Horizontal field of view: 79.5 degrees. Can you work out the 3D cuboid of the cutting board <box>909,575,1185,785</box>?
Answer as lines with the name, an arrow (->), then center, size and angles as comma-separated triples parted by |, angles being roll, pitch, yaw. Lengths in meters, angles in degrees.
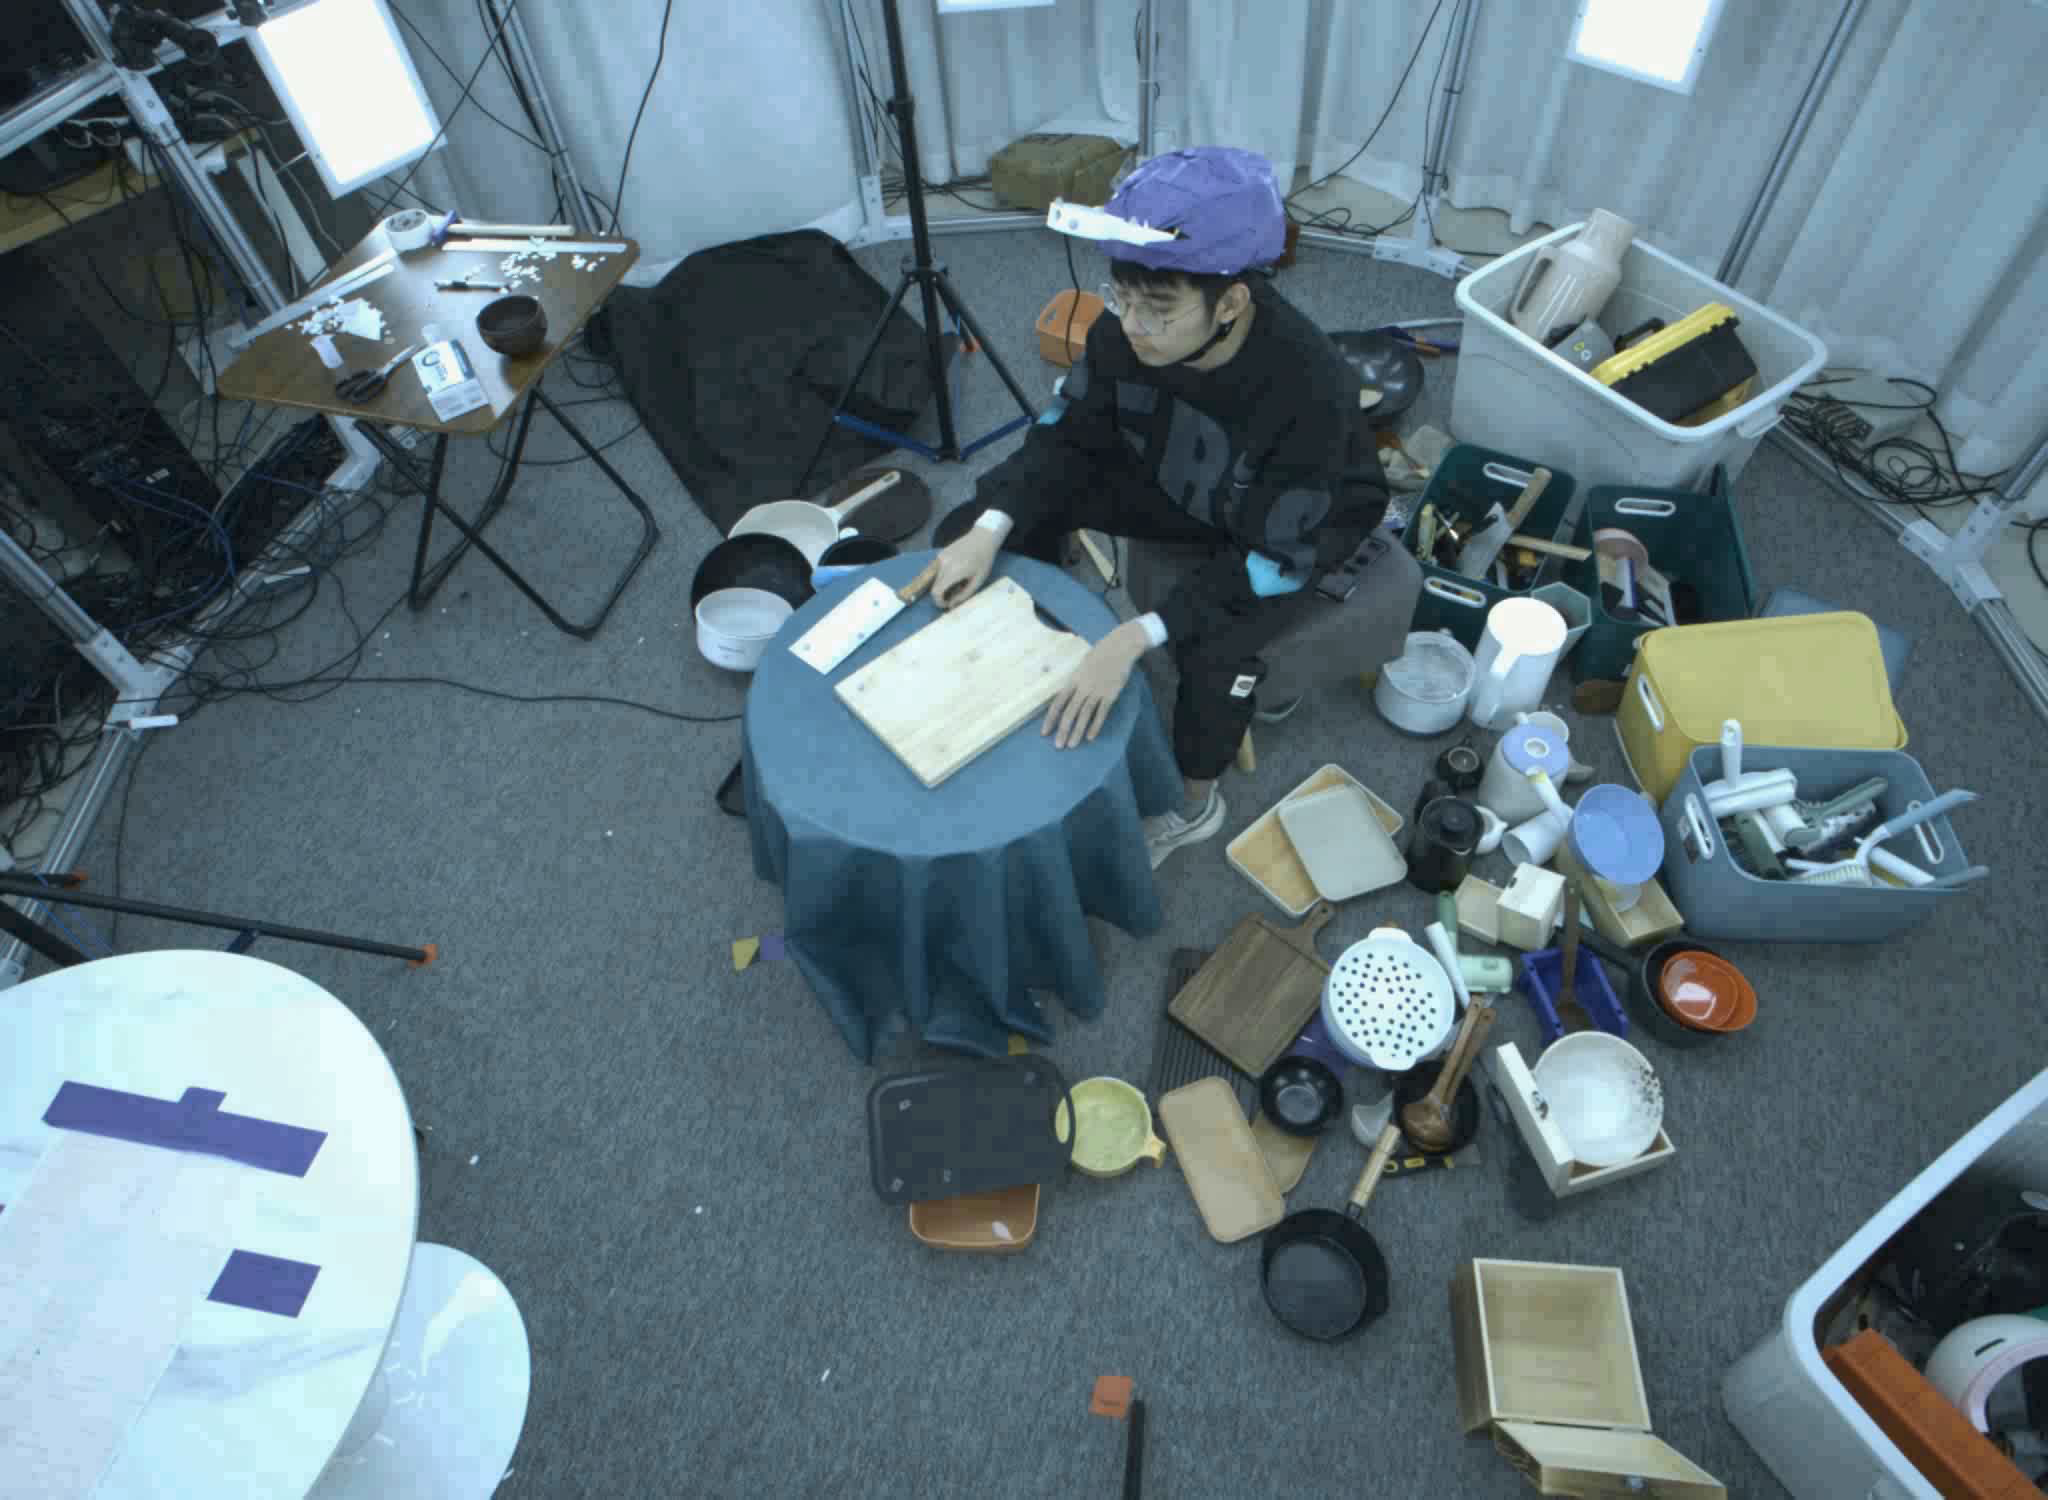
cutting board -> 0.031, -0.115, 1.857 | 0.351, 0.024, 0.246 | -33, 60, -19

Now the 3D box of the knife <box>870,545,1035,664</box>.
knife -> -0.118, -0.246, 1.956 | 0.307, 0.021, 0.091 | -40, 61, -21
